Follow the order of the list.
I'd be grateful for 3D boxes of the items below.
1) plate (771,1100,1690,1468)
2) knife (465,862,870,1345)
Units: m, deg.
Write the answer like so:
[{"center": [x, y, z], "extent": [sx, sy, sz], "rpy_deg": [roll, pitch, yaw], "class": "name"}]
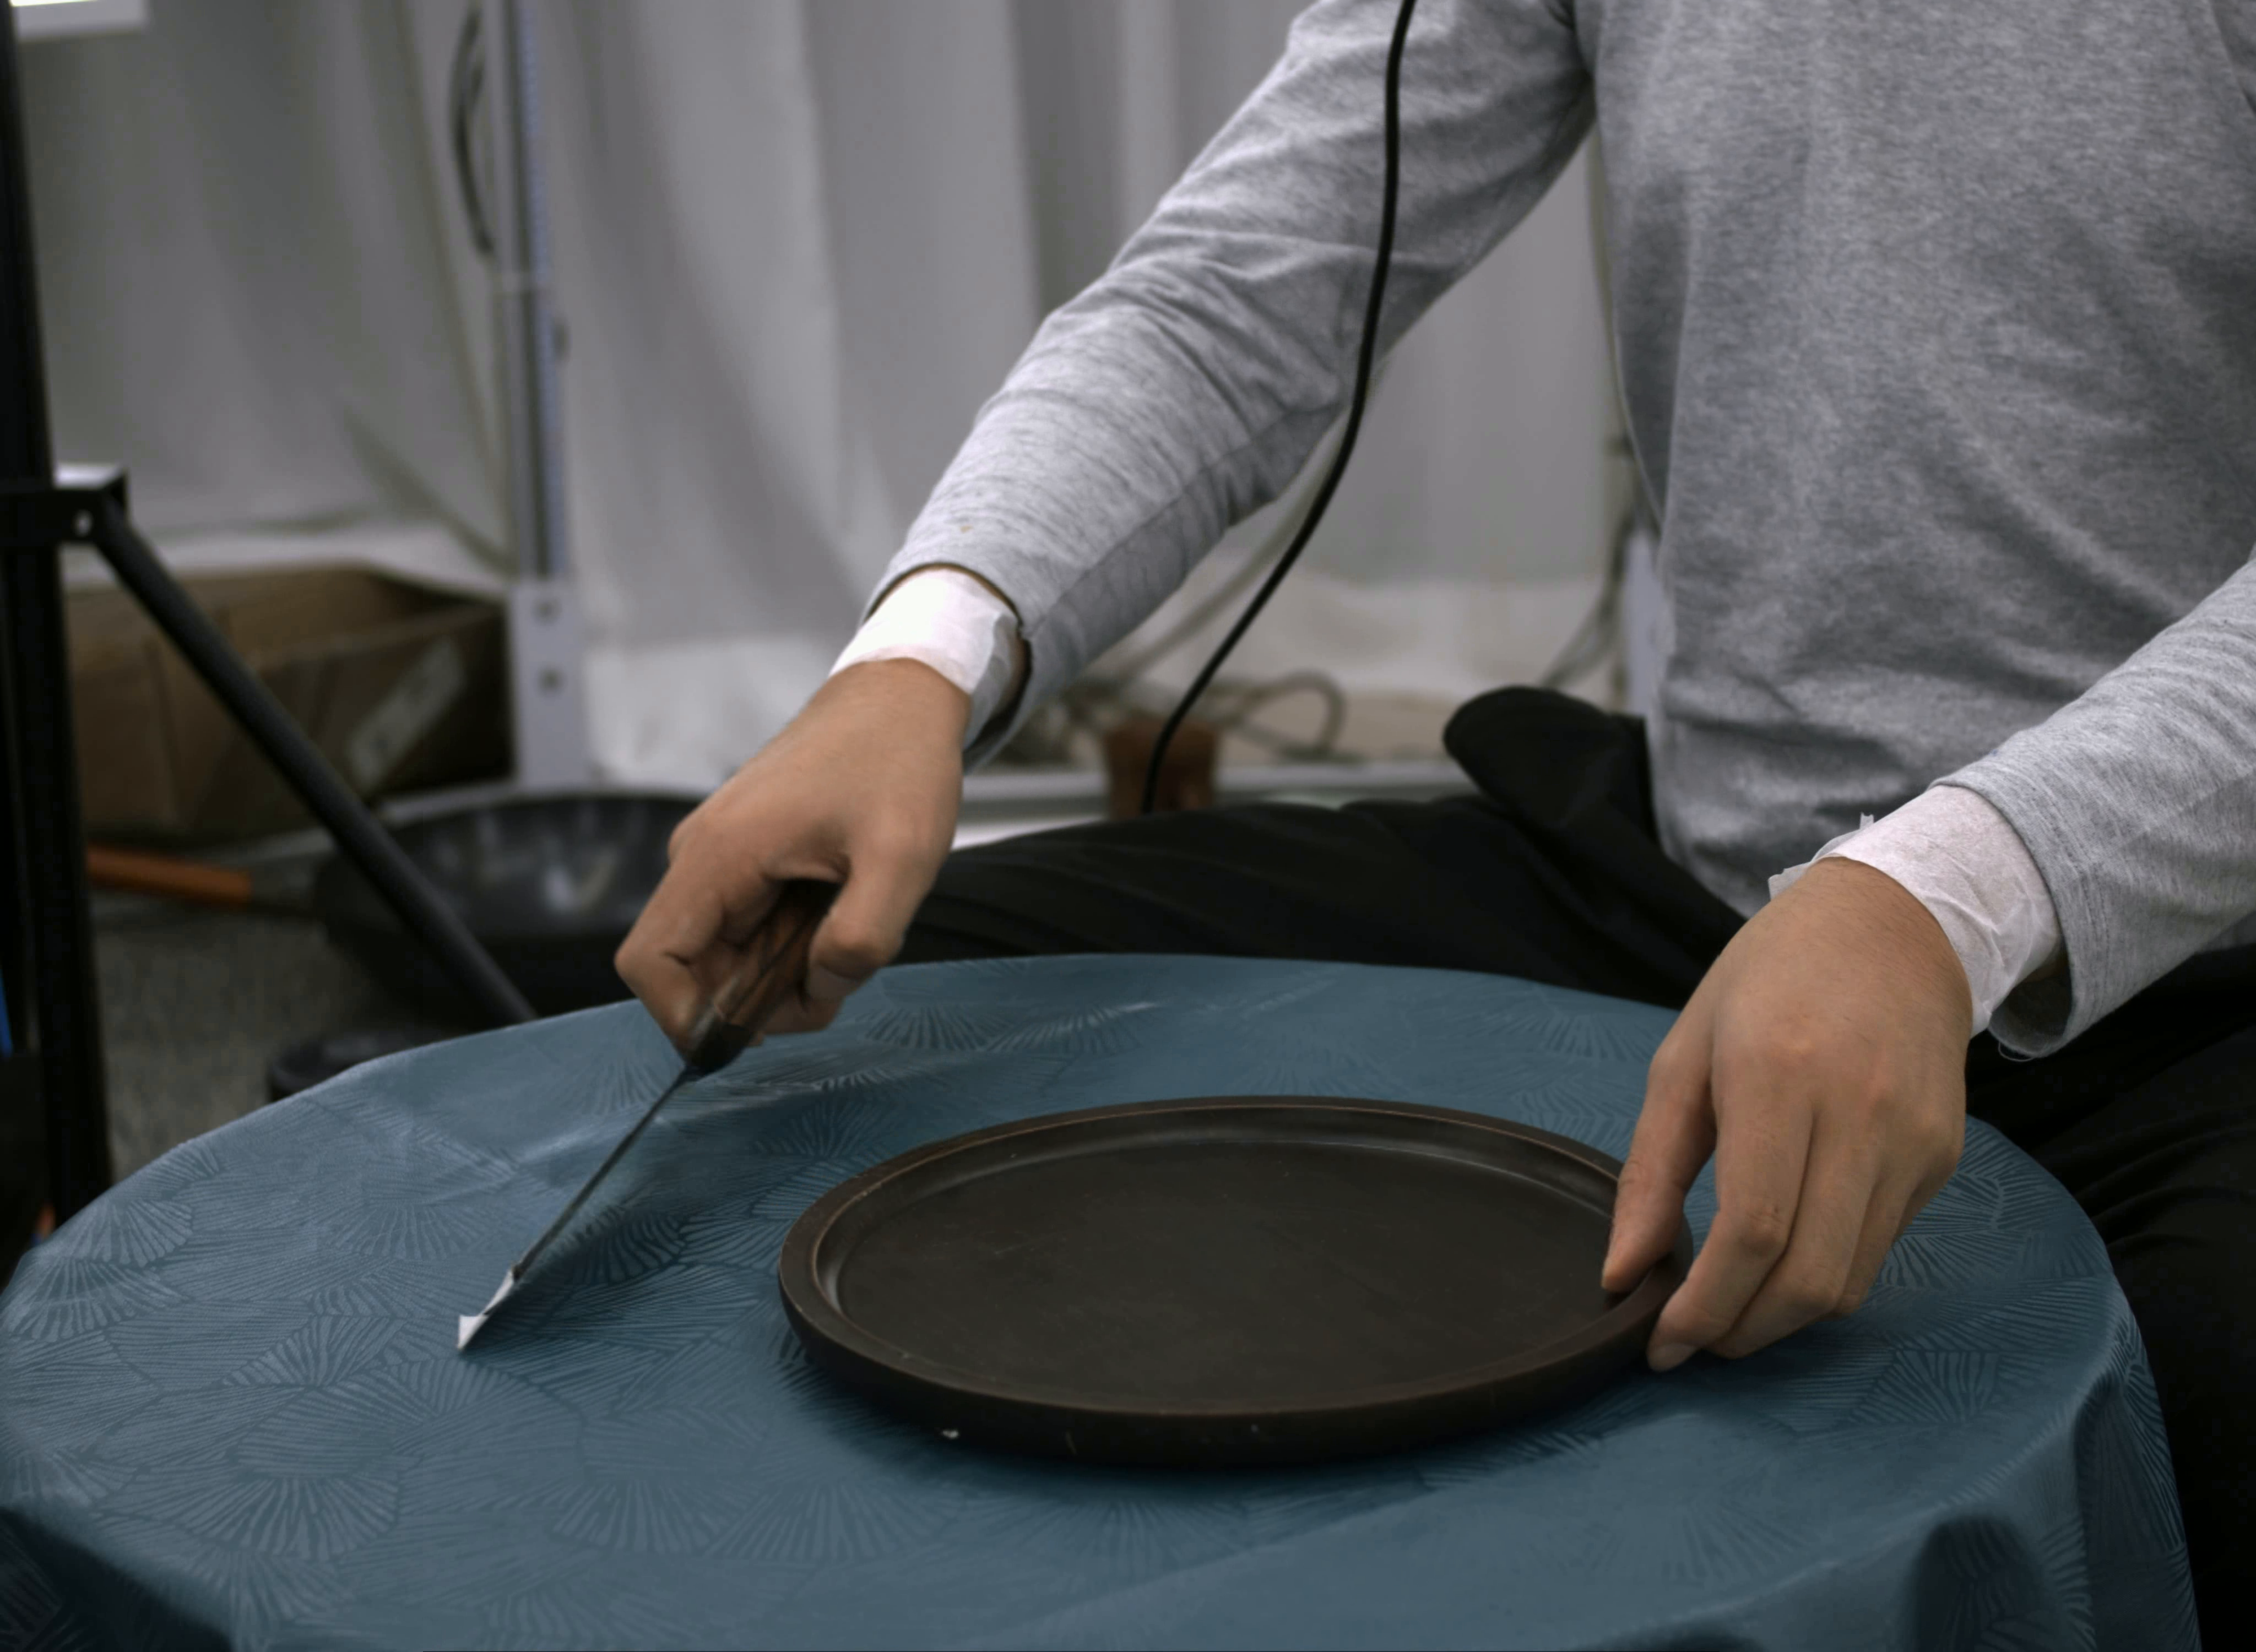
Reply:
[{"center": [0.029, 0.123, 1.459], "extent": [0.253, 0.029, 0.256], "rpy_deg": [-3, 14, -1], "class": "plate"}, {"center": [-0.134, 0.079, 1.577], "extent": [0.020, 0.050, 0.287], "rpy_deg": [38, 32, -1], "class": "knife"}]
